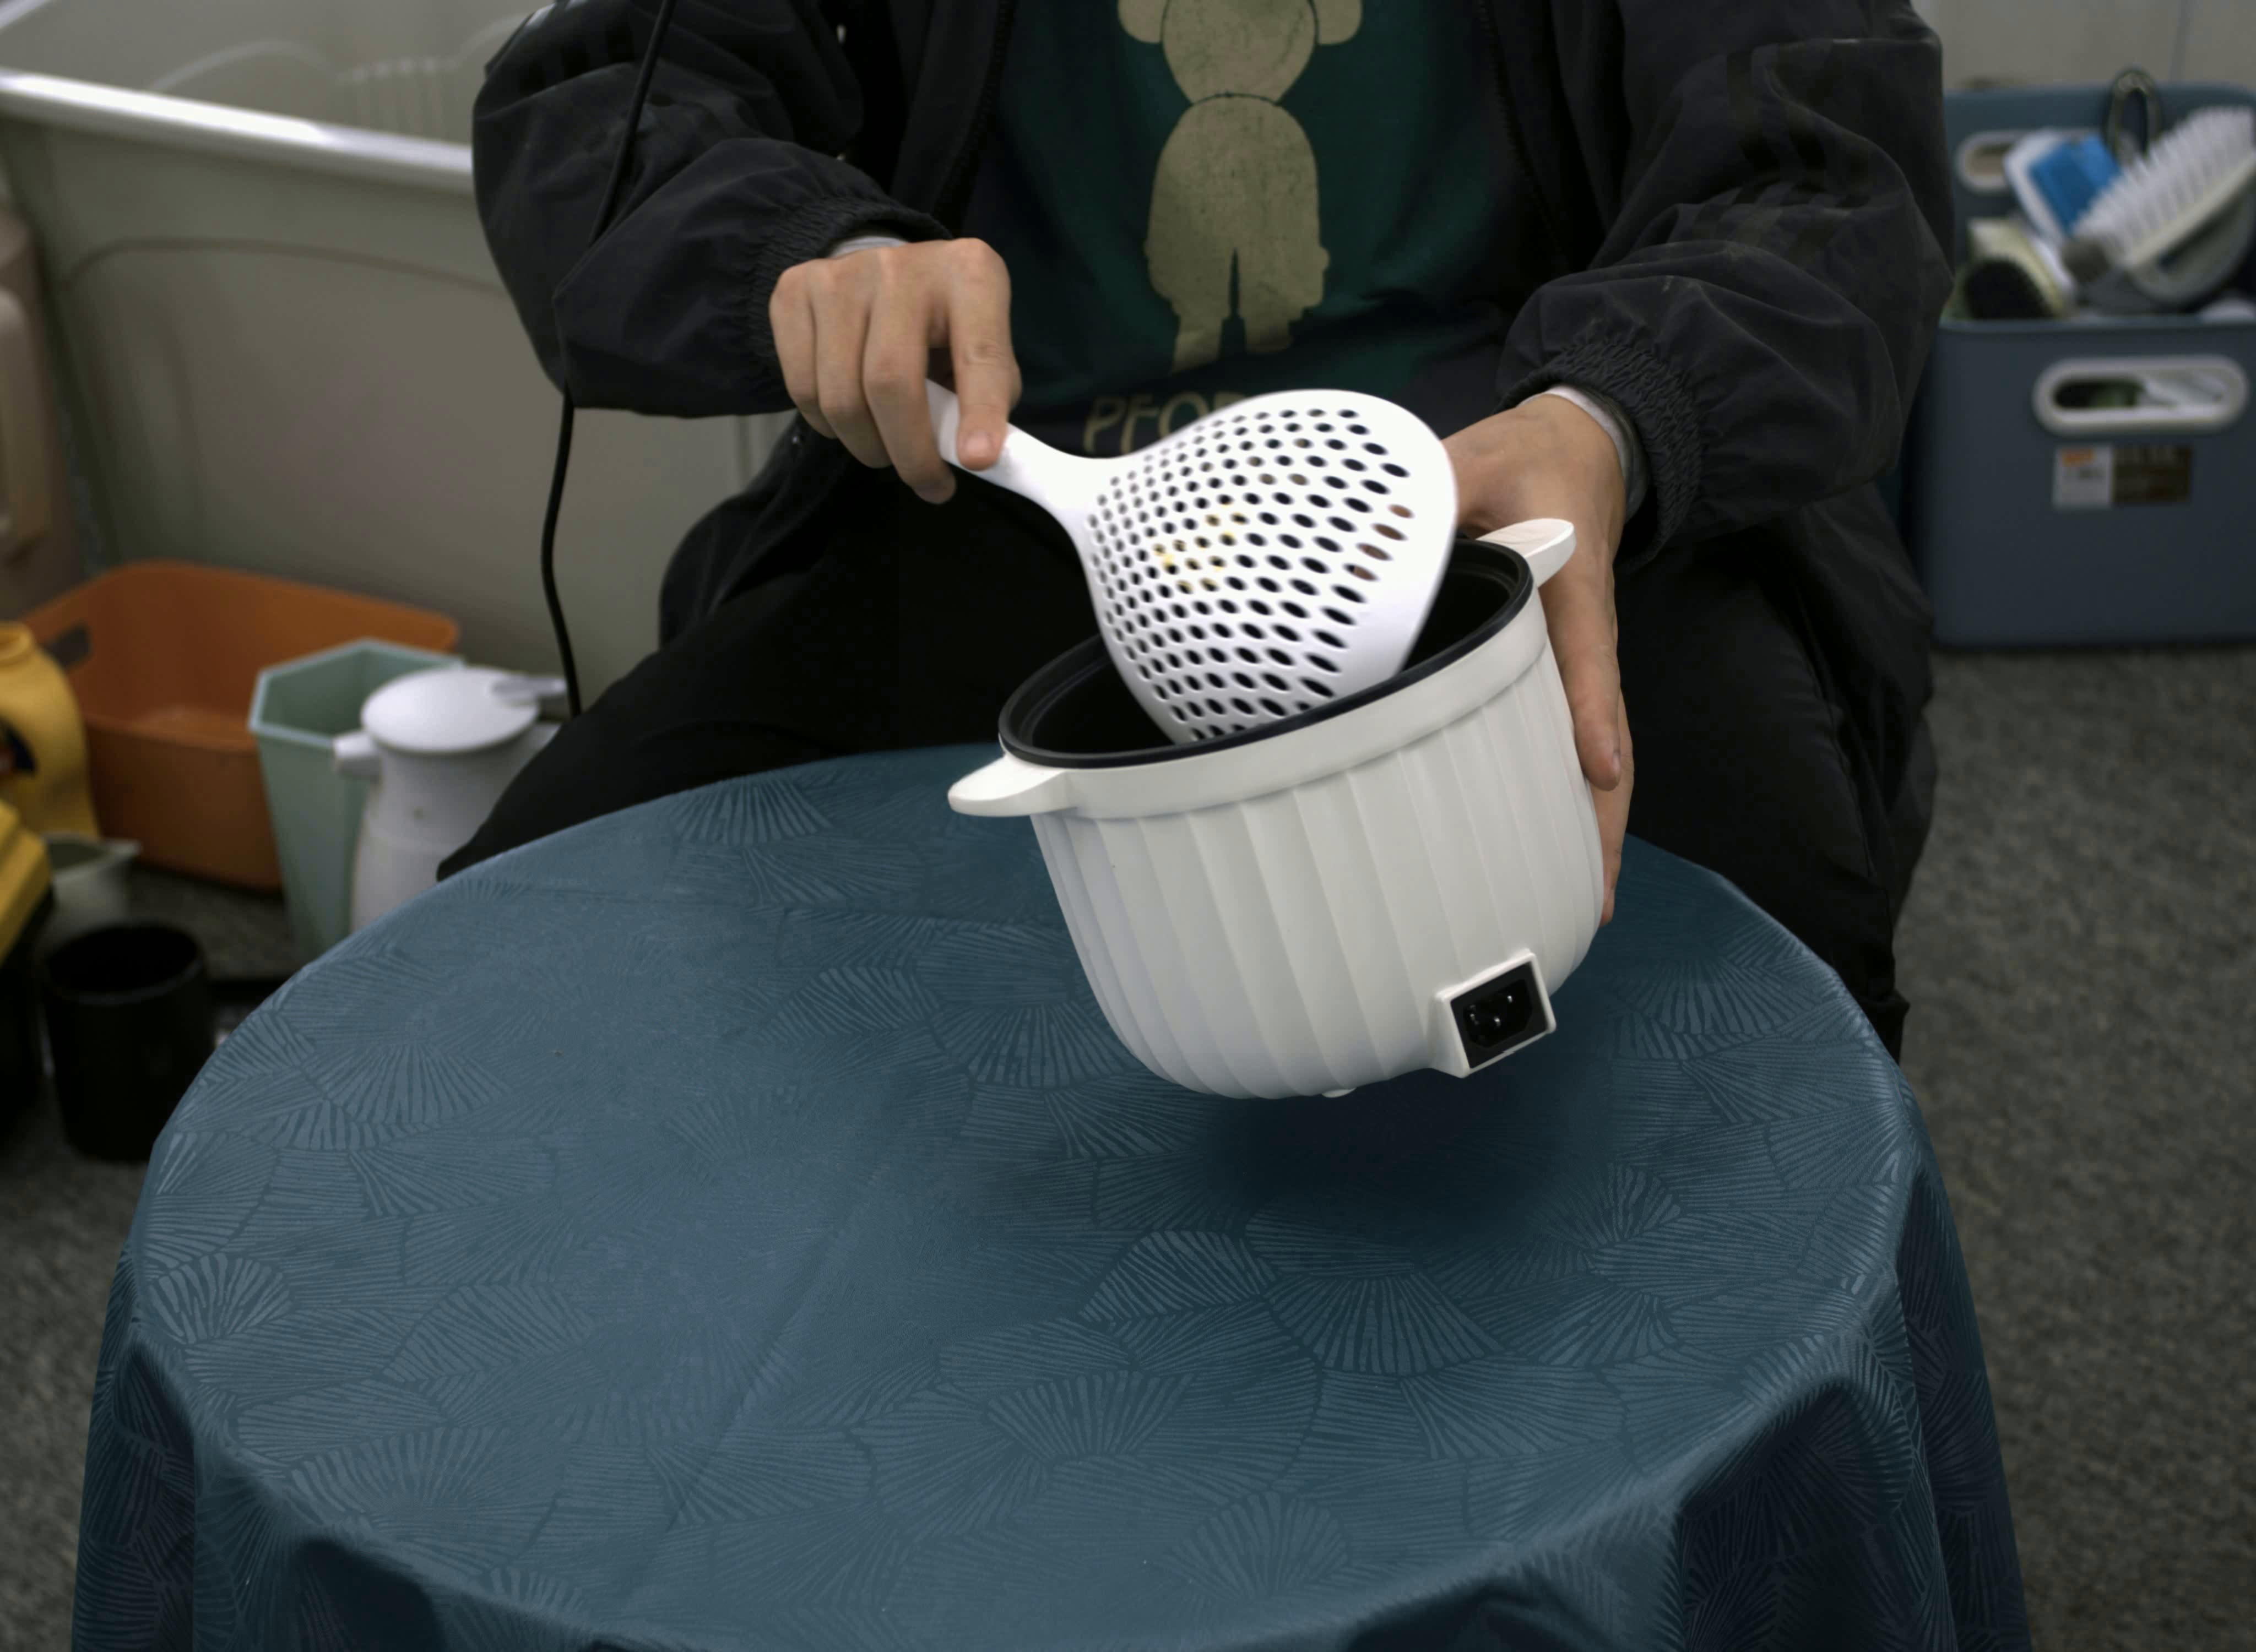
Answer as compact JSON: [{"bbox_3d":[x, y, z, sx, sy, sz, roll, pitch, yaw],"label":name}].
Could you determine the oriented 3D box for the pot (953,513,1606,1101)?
[{"bbox_3d":[0.060,0.001,1.842,0.242,0.142,0.190,-24,21,-24],"label":"pot"}]

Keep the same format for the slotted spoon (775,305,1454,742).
[{"bbox_3d":[-0.018,-0.118,1.910,0.050,0.137,0.348,21,4,-37],"label":"slotted spoon"}]
